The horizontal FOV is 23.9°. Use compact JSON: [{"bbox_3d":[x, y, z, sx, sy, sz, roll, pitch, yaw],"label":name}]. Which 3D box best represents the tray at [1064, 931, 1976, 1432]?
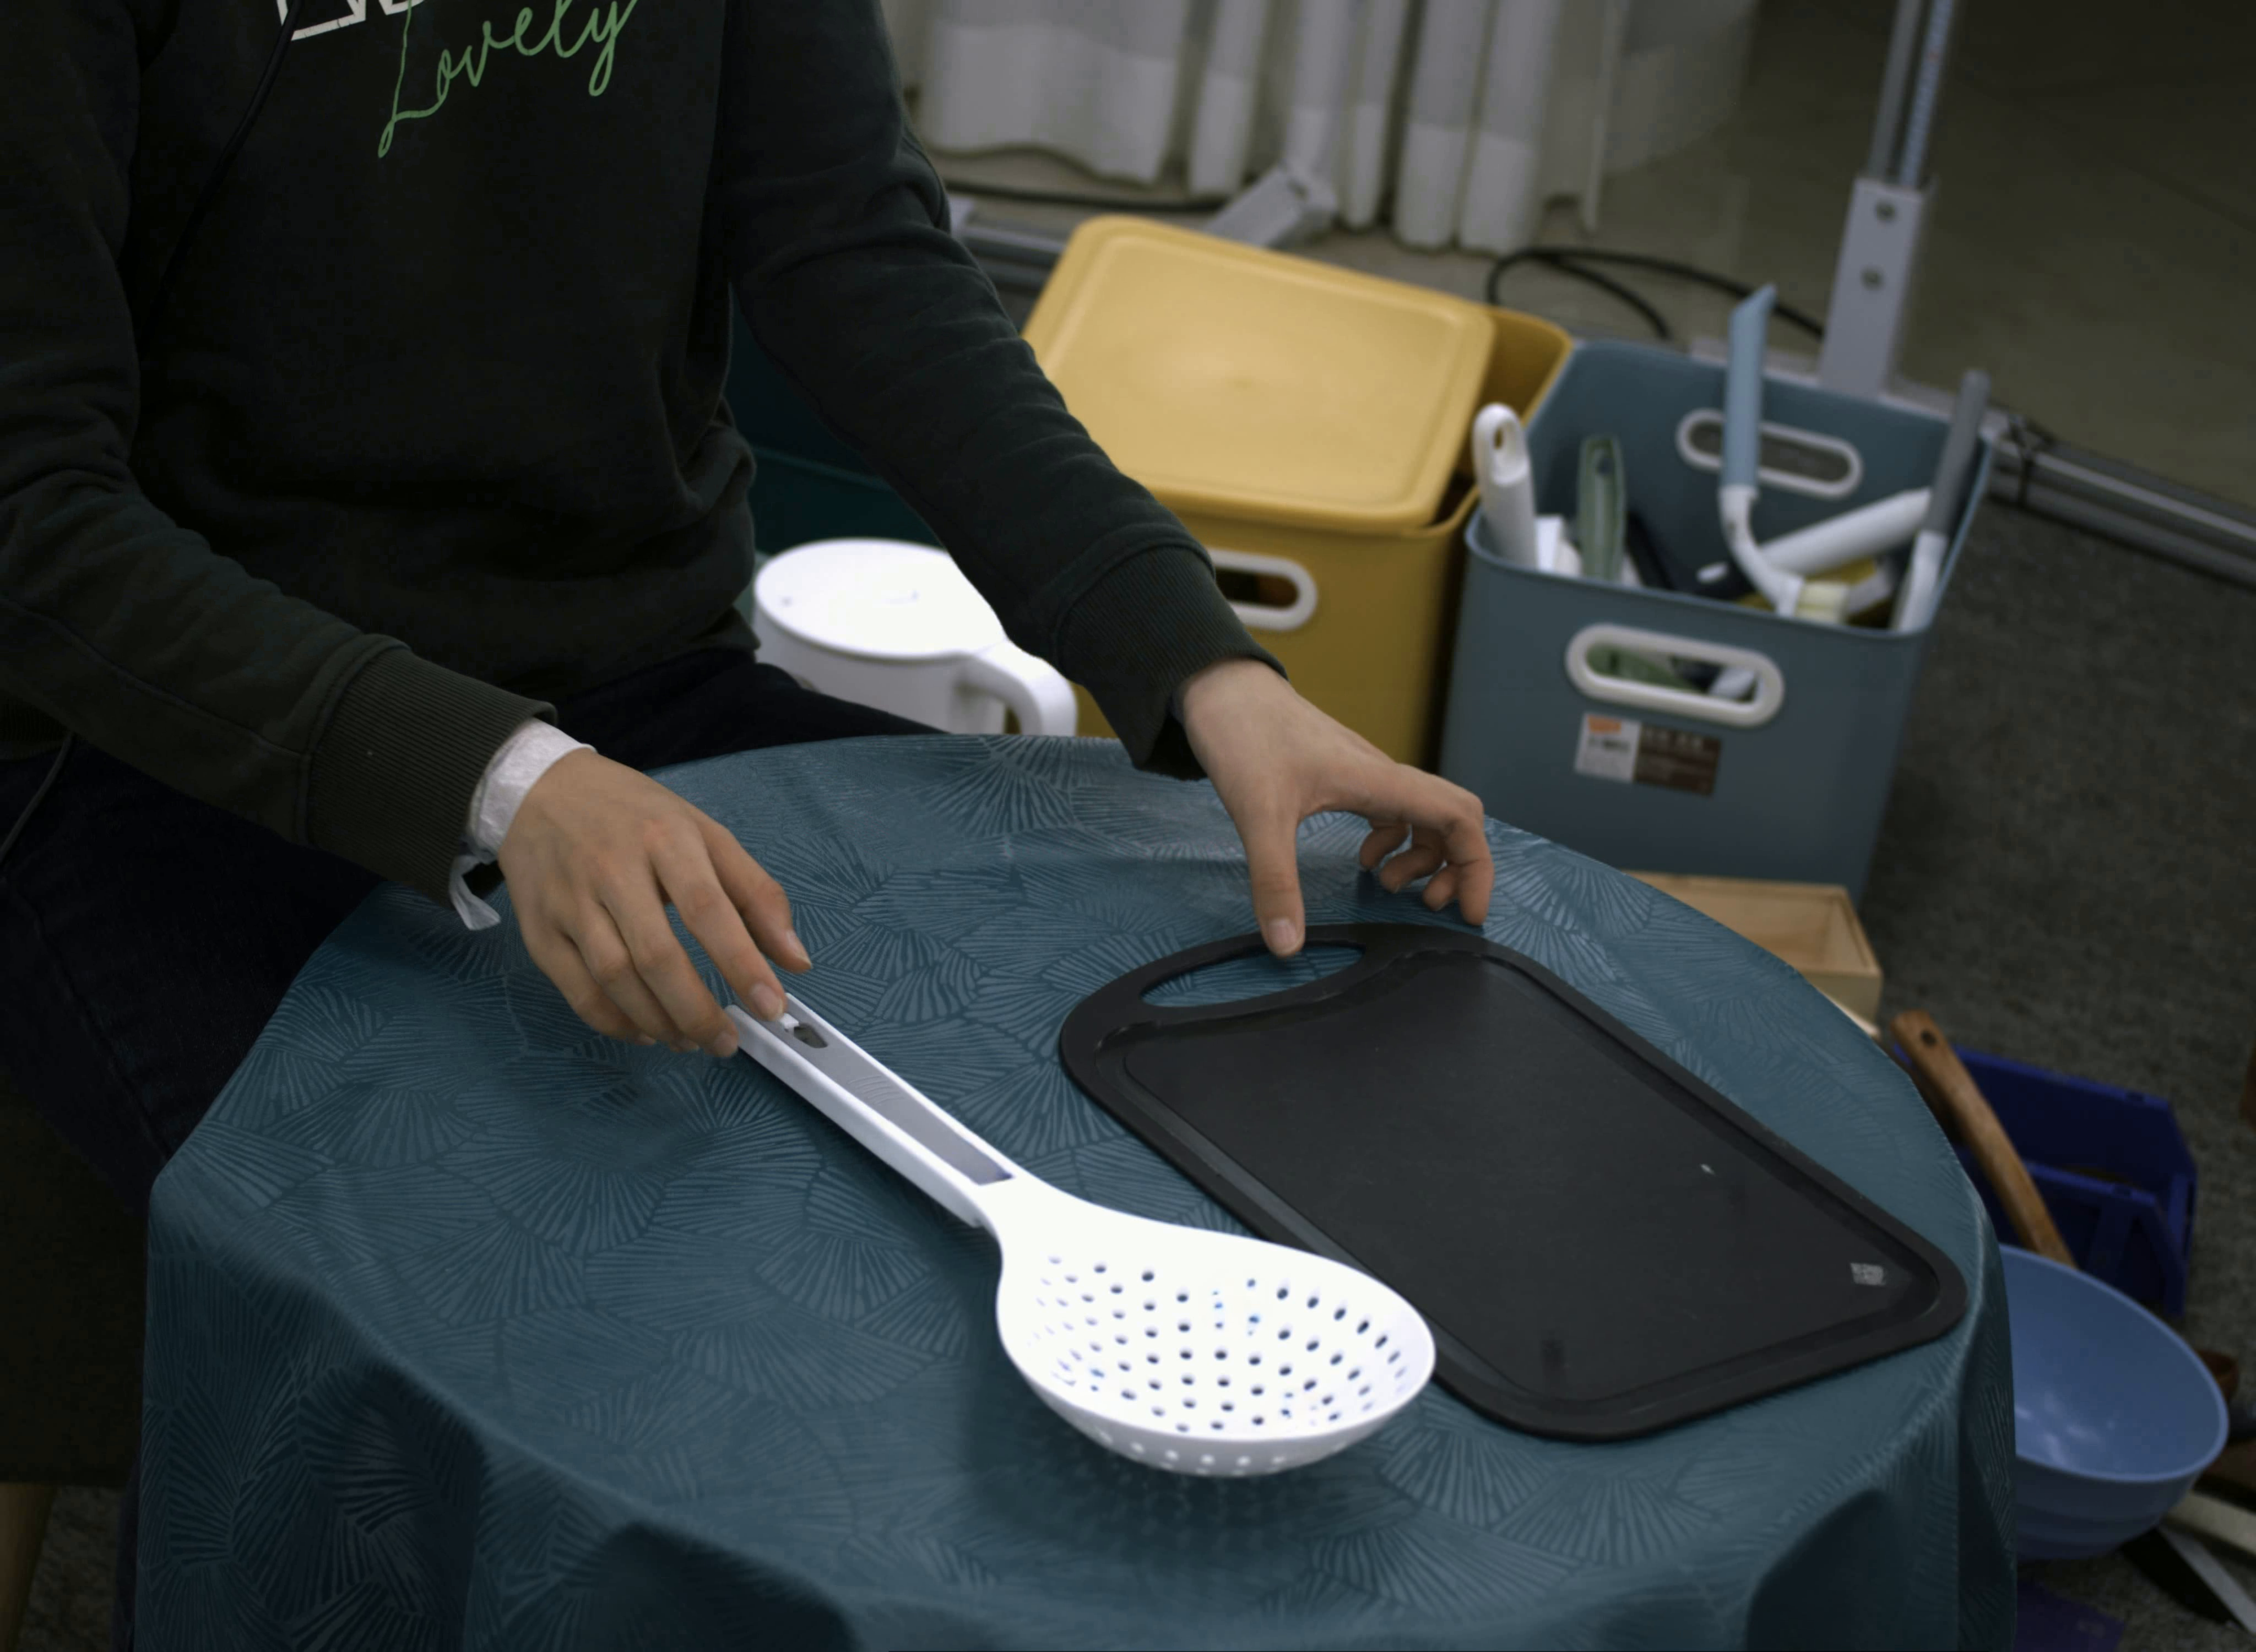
[{"bbox_3d":[0.126,0.113,1.842,0.210,0.010,0.328,-12,32,-33],"label":"tray"}]

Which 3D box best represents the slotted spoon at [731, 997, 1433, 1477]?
[{"bbox_3d":[-0.034,0.127,1.735,0.135,0.045,0.353,-9,30,-33],"label":"slotted spoon"}]
